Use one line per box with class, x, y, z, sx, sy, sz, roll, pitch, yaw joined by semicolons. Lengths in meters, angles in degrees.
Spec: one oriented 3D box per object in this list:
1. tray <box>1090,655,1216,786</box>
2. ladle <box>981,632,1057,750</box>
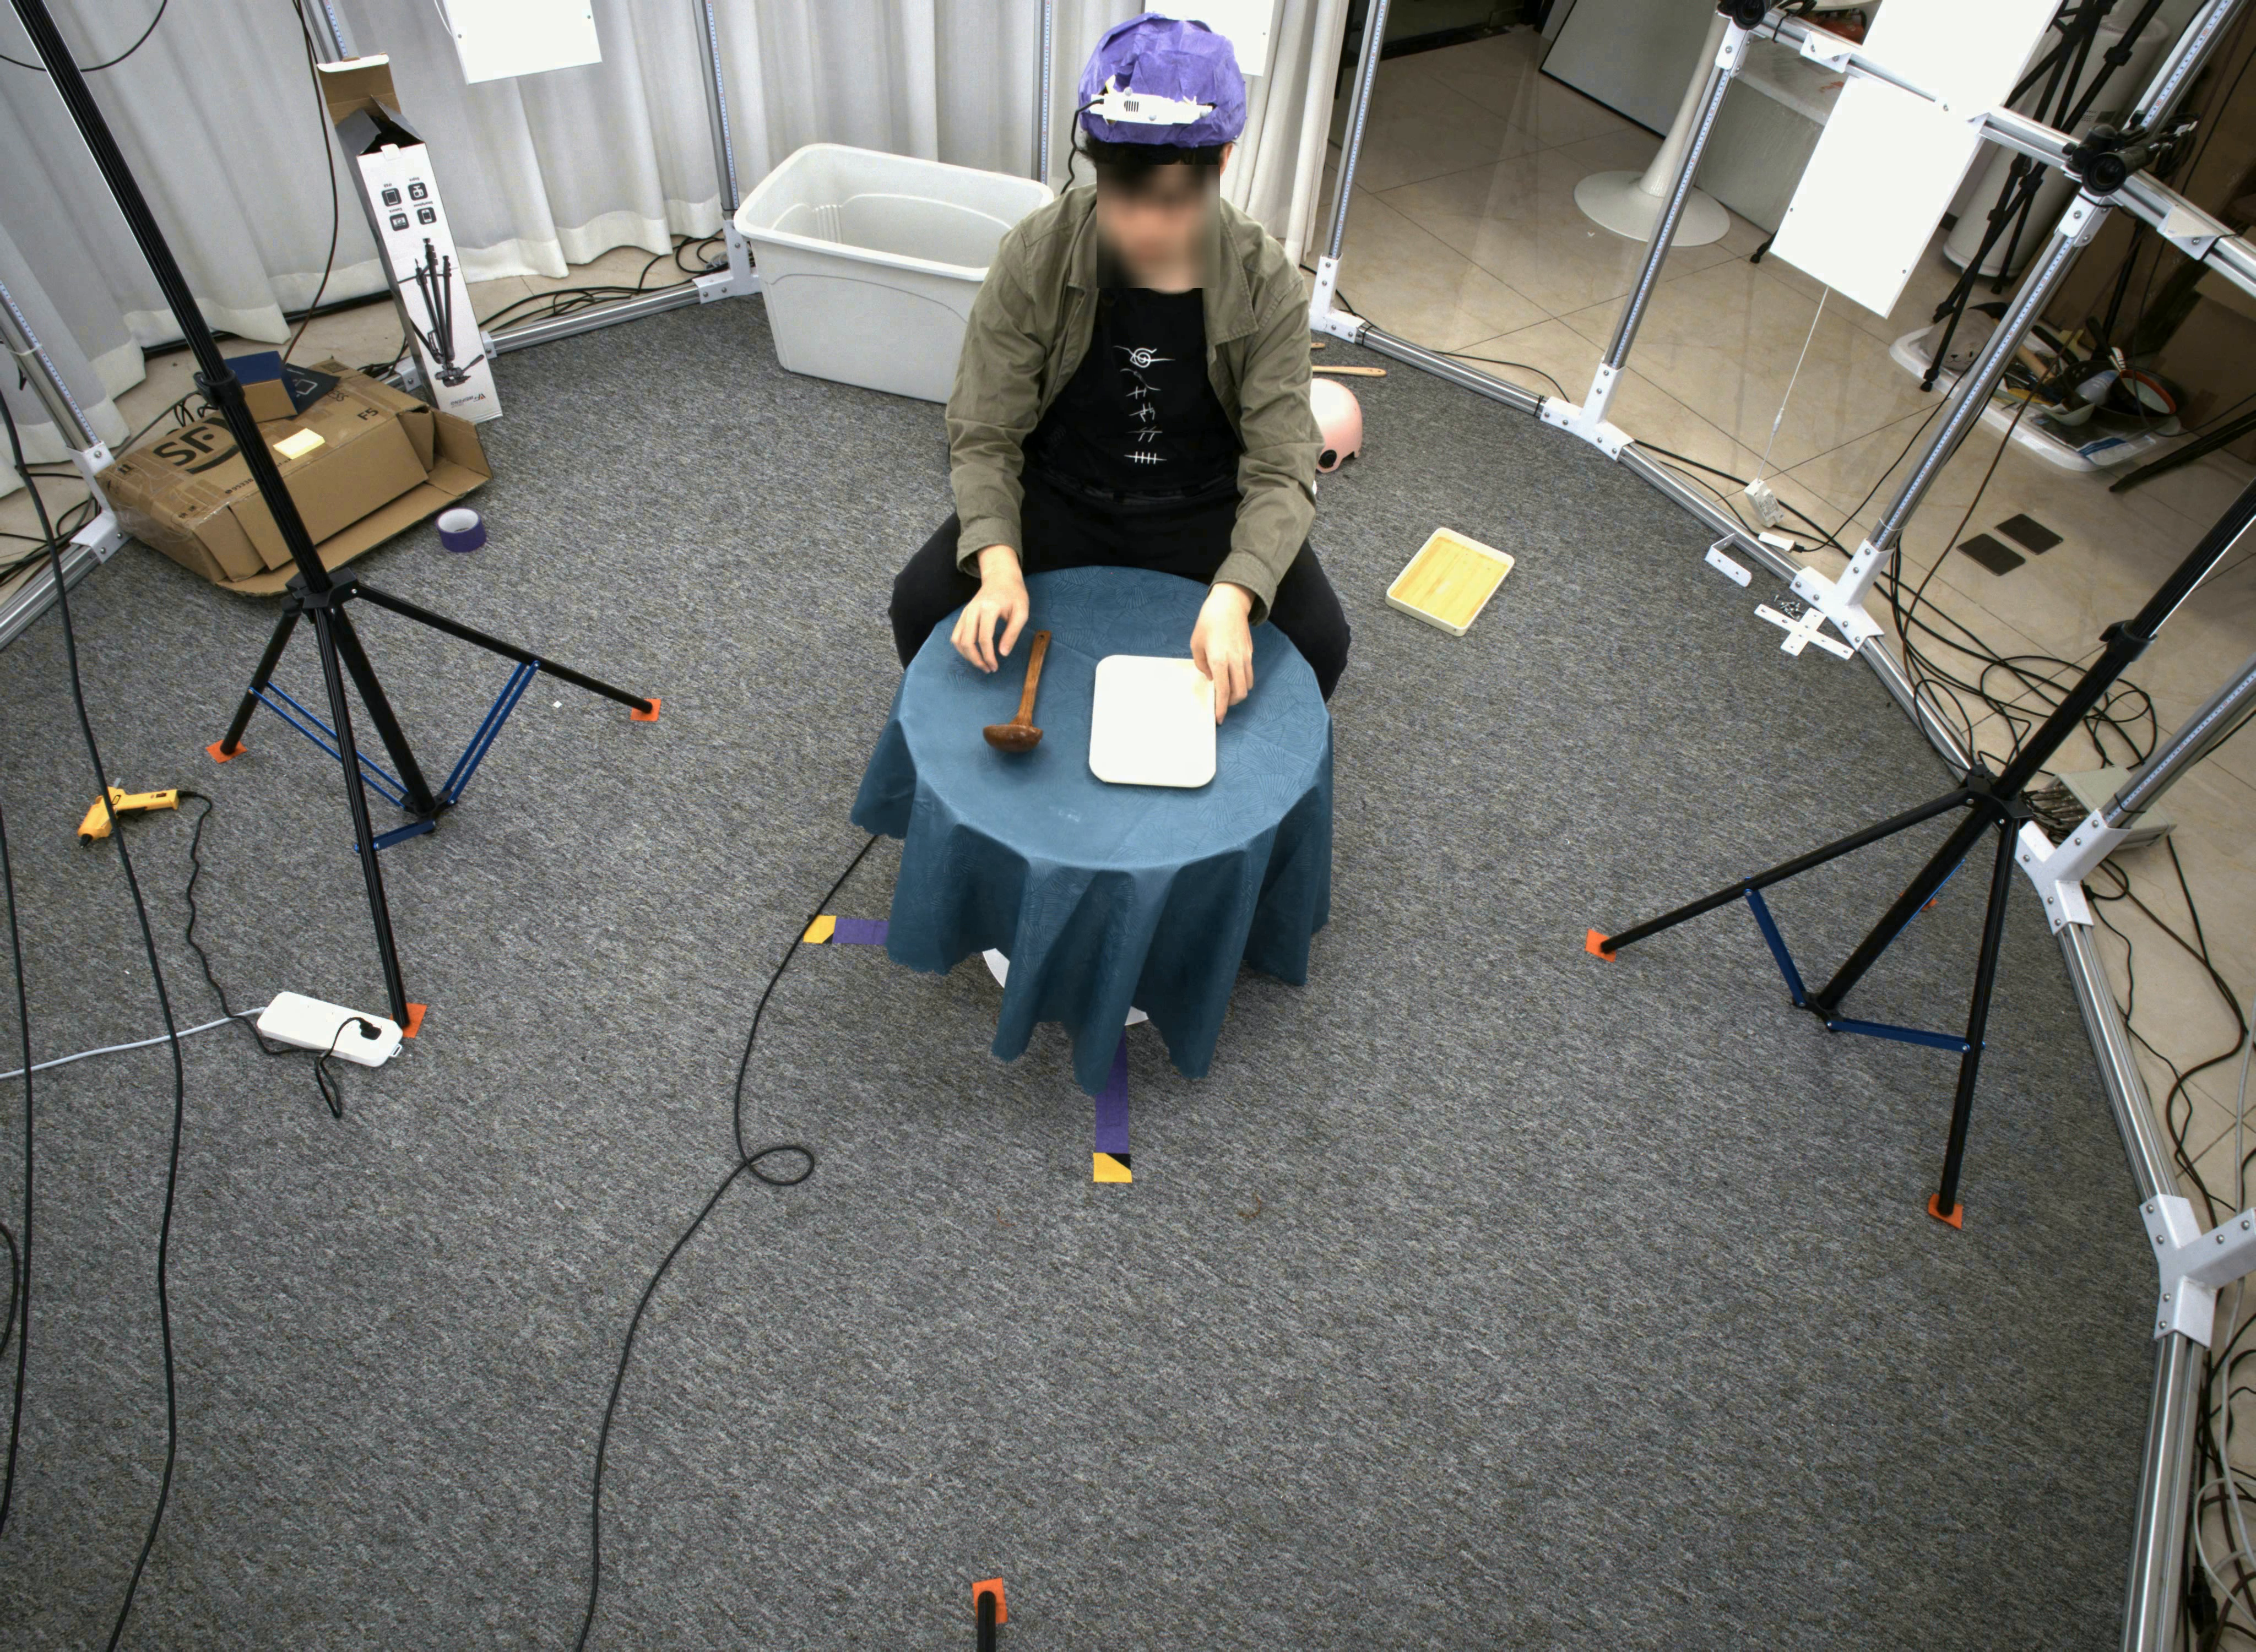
tray;0.035;-0.147;1.776;0.171;0.017;0.245;4;49;-1
ladle;-0.139;-0.202;1.774;0.082;0.075;0.280;6;48;6
